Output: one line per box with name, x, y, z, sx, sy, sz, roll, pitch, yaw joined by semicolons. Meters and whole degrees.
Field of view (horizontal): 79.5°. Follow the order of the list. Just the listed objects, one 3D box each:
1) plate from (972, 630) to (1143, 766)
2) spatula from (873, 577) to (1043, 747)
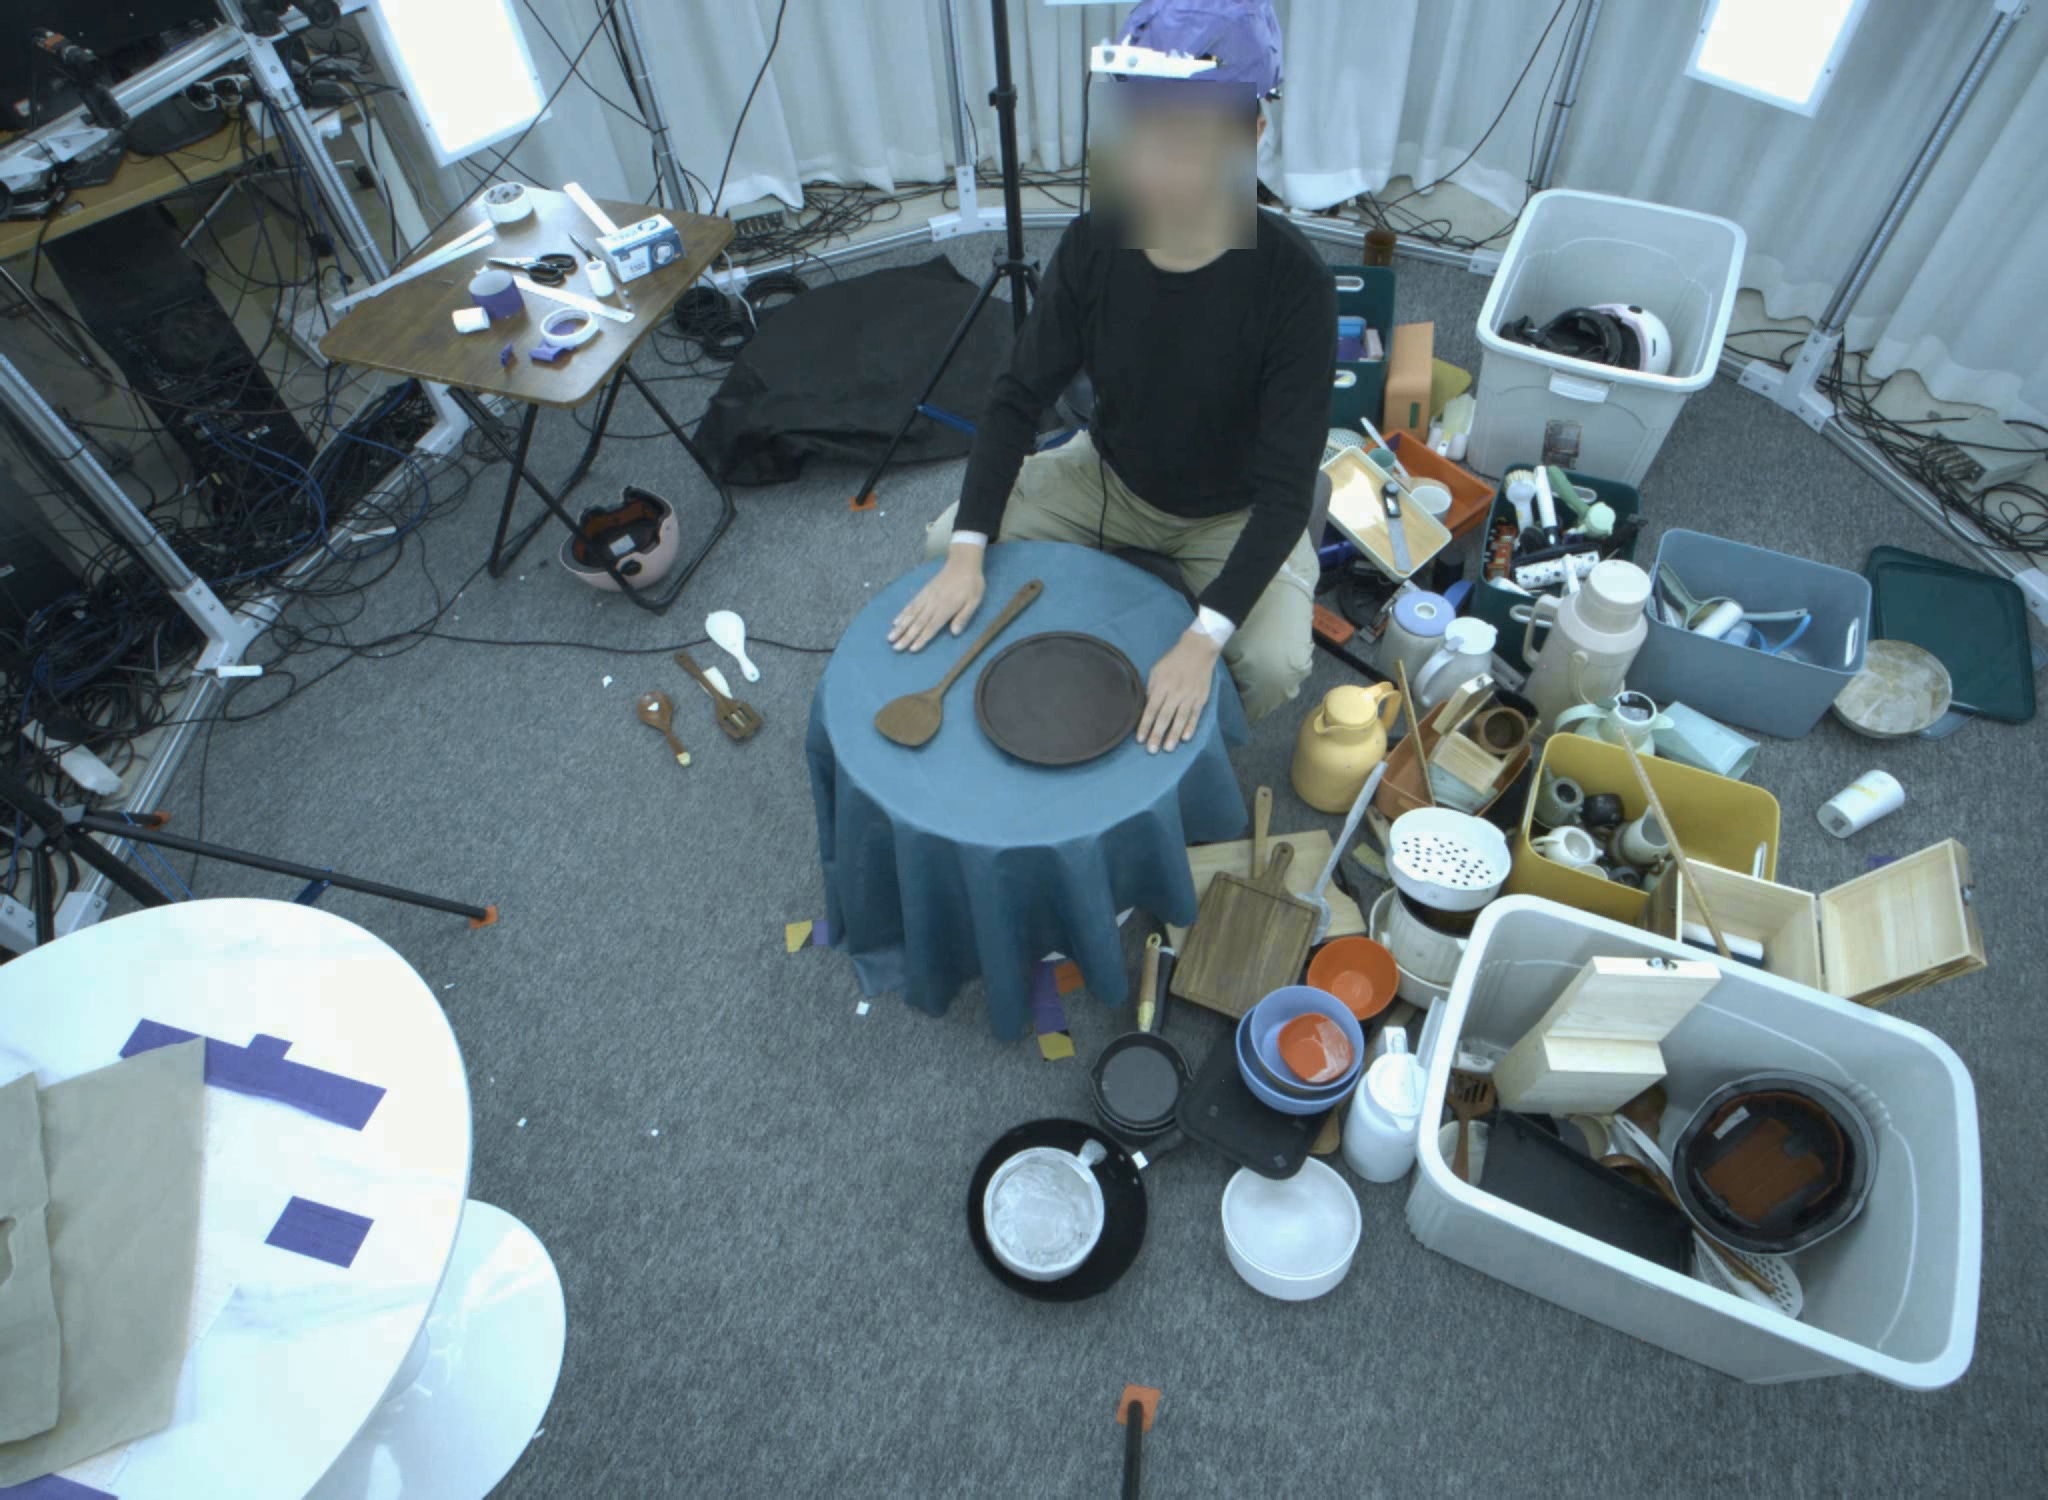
plate;0.050;-0.078;1.827;0.254;0.029;0.252;-1;54;3
spatula;-0.086;-0.146;1.885;0.094;0.016;0.387;29;61;20
